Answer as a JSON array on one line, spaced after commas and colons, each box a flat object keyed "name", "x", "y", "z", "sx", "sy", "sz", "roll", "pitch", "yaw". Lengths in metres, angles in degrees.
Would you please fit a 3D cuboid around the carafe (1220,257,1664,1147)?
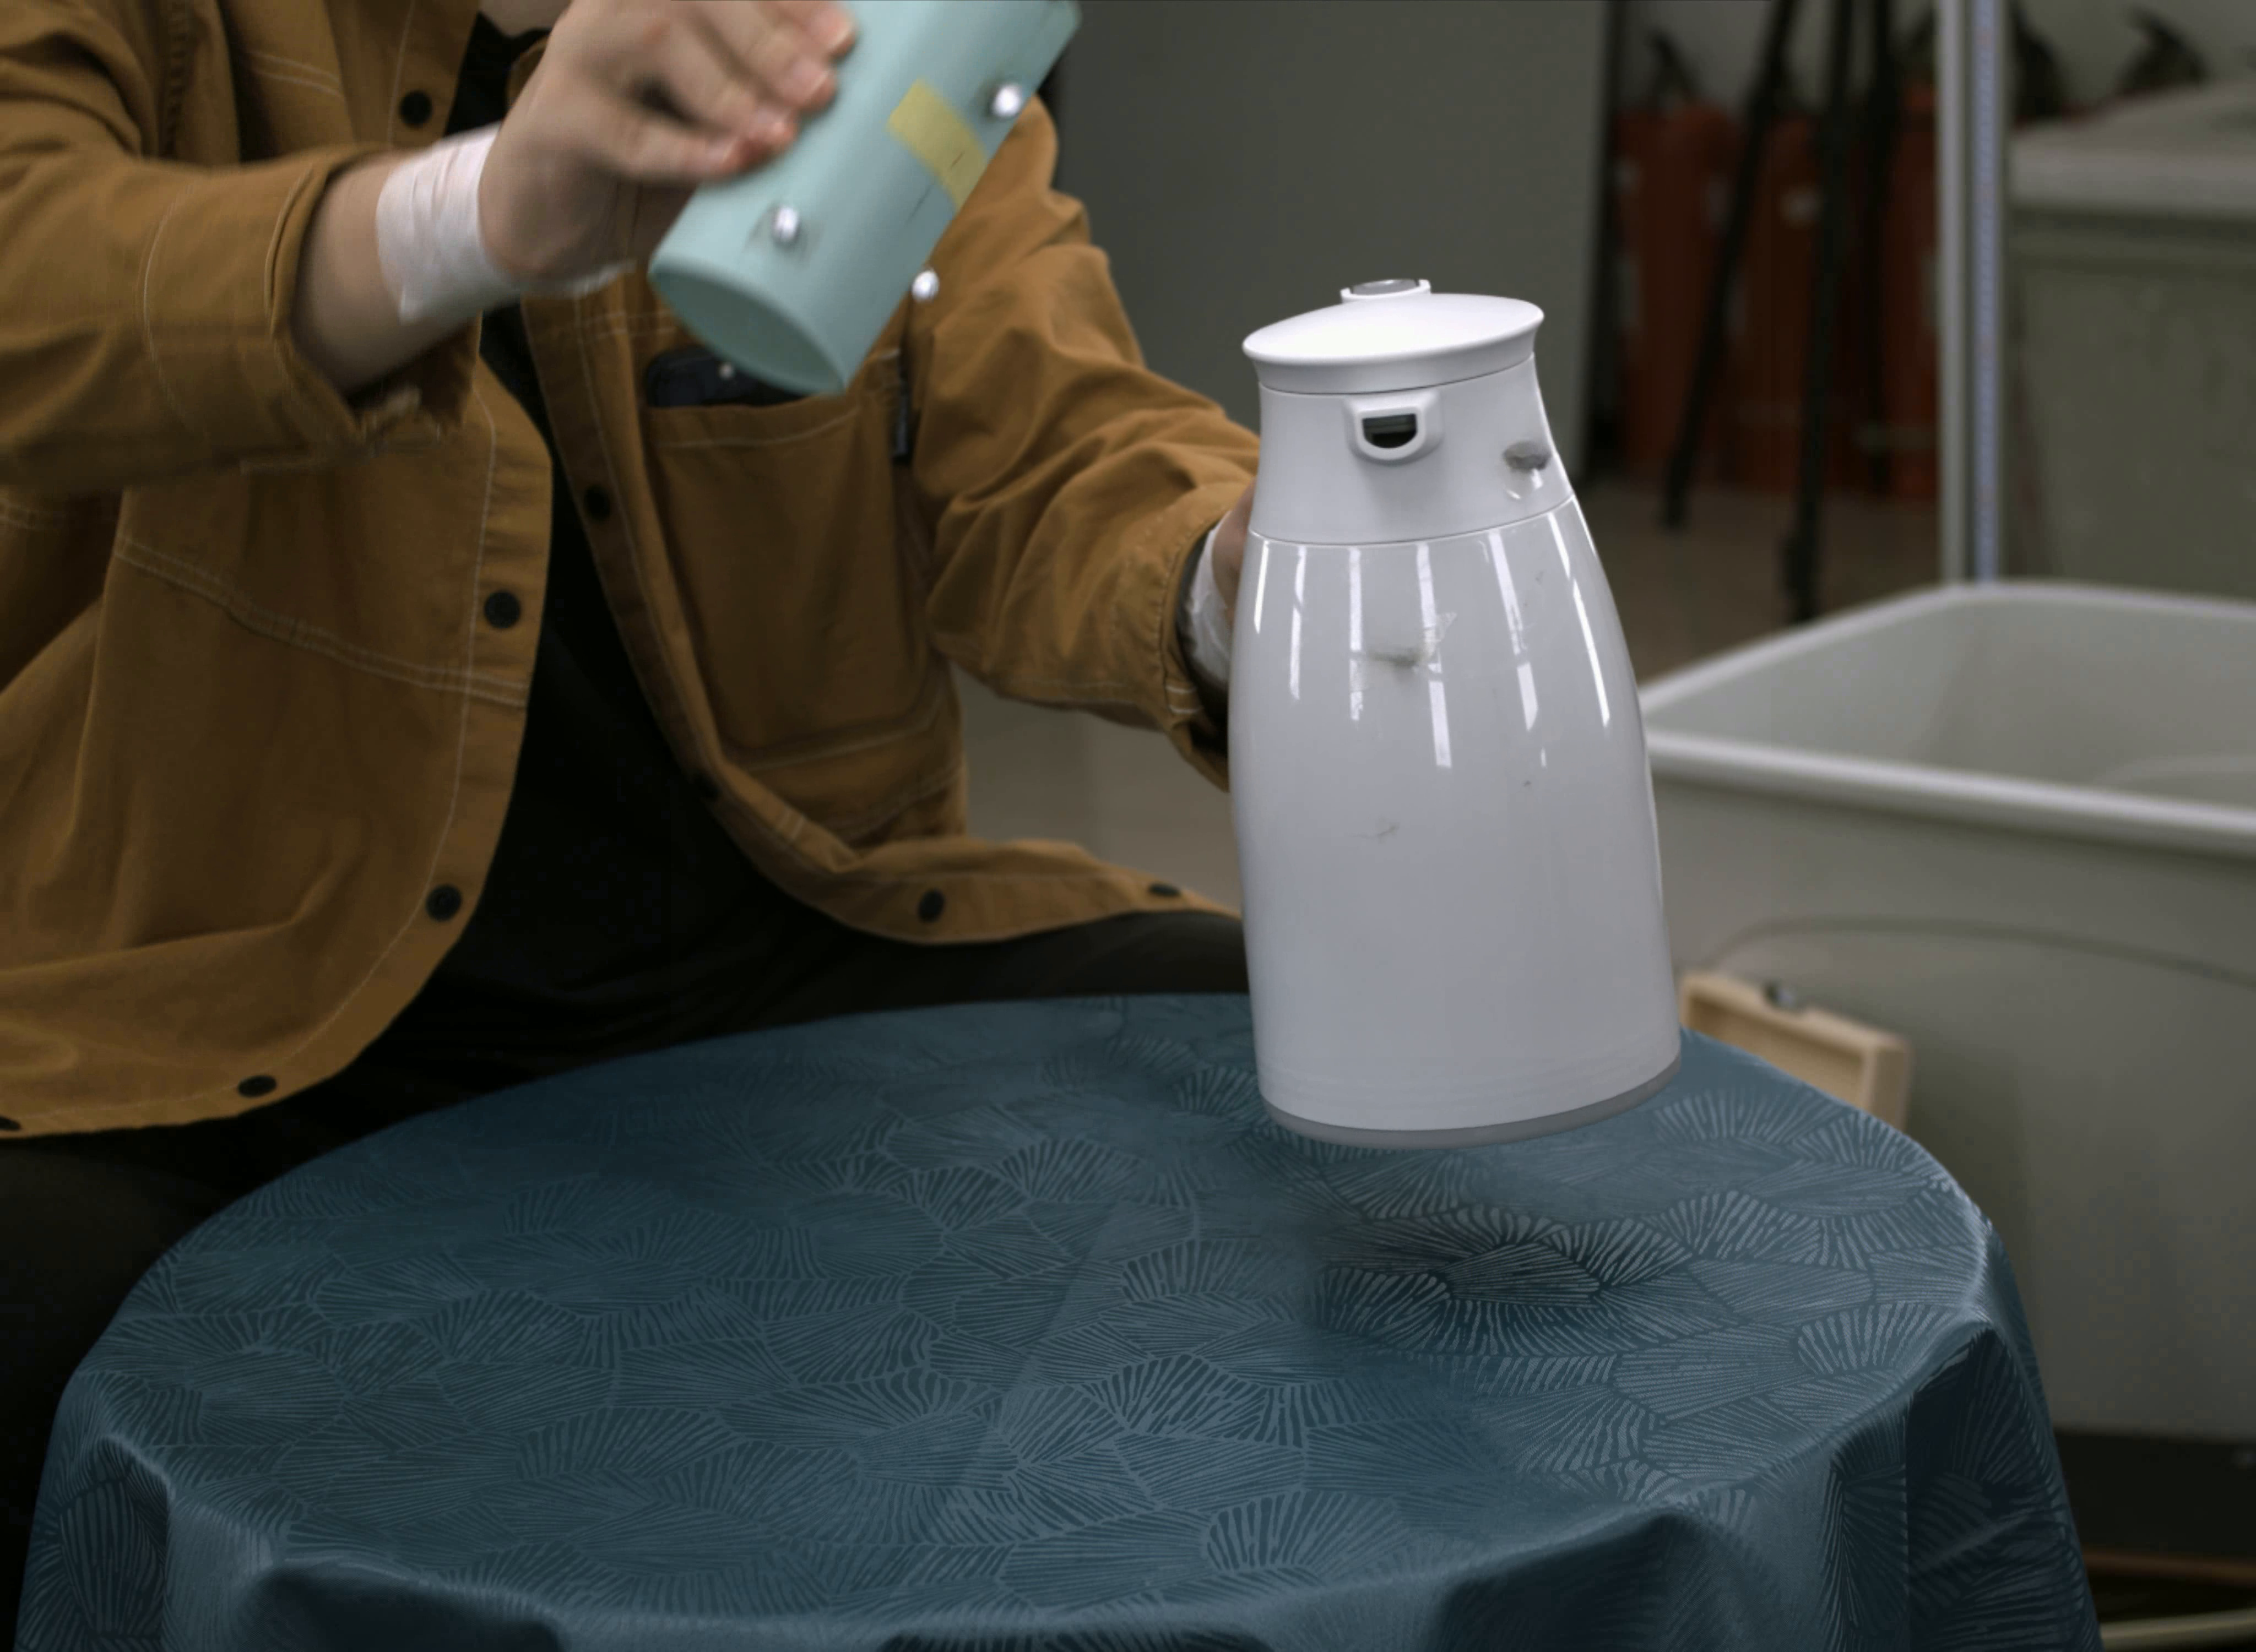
[{"name": "carafe", "x": 0.090, "y": -0.046, "z": 1.658, "sx": 0.131, "sy": 0.251, "sz": 0.167, "roll": -4, "pitch": 13, "yaw": 7}]

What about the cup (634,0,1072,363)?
[{"name": "cup", "x": -0.076, "y": -0.200, "z": 1.510, "sx": 0.067, "sy": 0.066, "sz": 0.132, "roll": 12, "pitch": 63, "yaw": 49}]
